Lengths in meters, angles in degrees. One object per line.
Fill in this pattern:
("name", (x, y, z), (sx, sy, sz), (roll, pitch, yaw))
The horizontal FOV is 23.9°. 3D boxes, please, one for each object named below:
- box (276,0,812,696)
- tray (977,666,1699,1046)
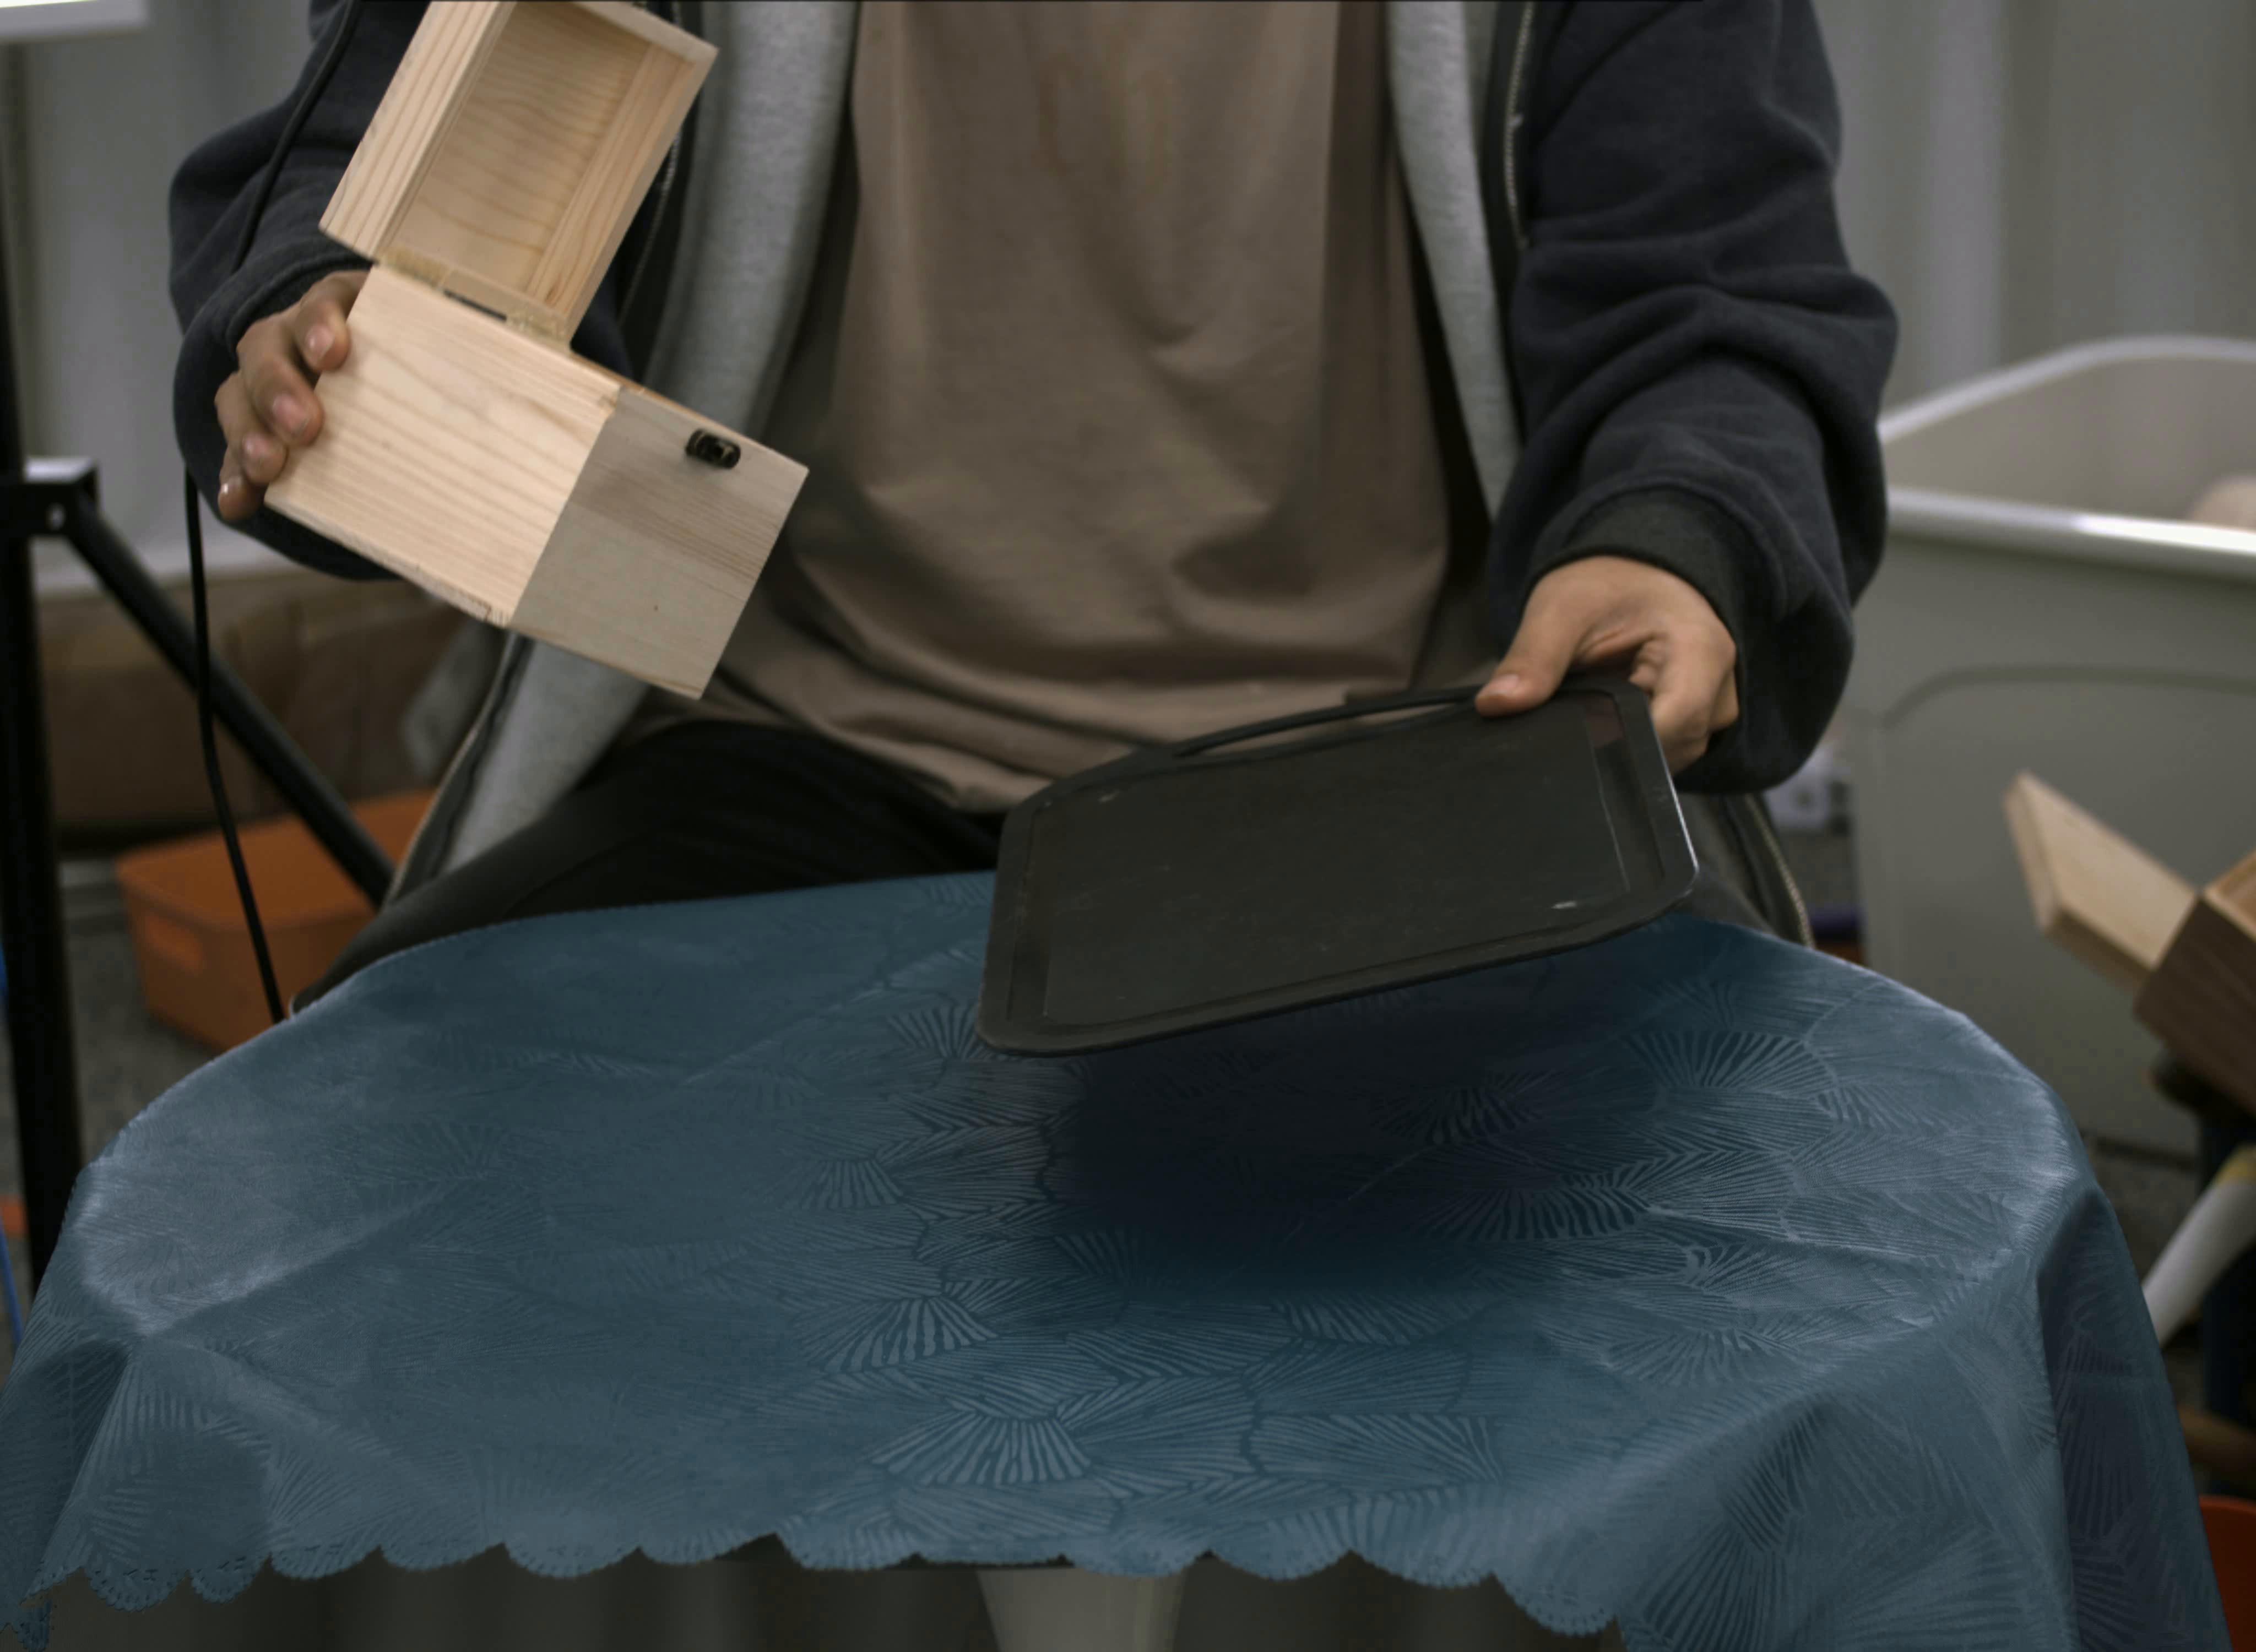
("box", (-0.158, -0.152, 1.577), (0.136, 0.185, 0.100), (26, 4, 32))
("tray", (0.061, 0.002, 1.609), (0.211, 0.010, 0.326), (-12, 15, 6))
